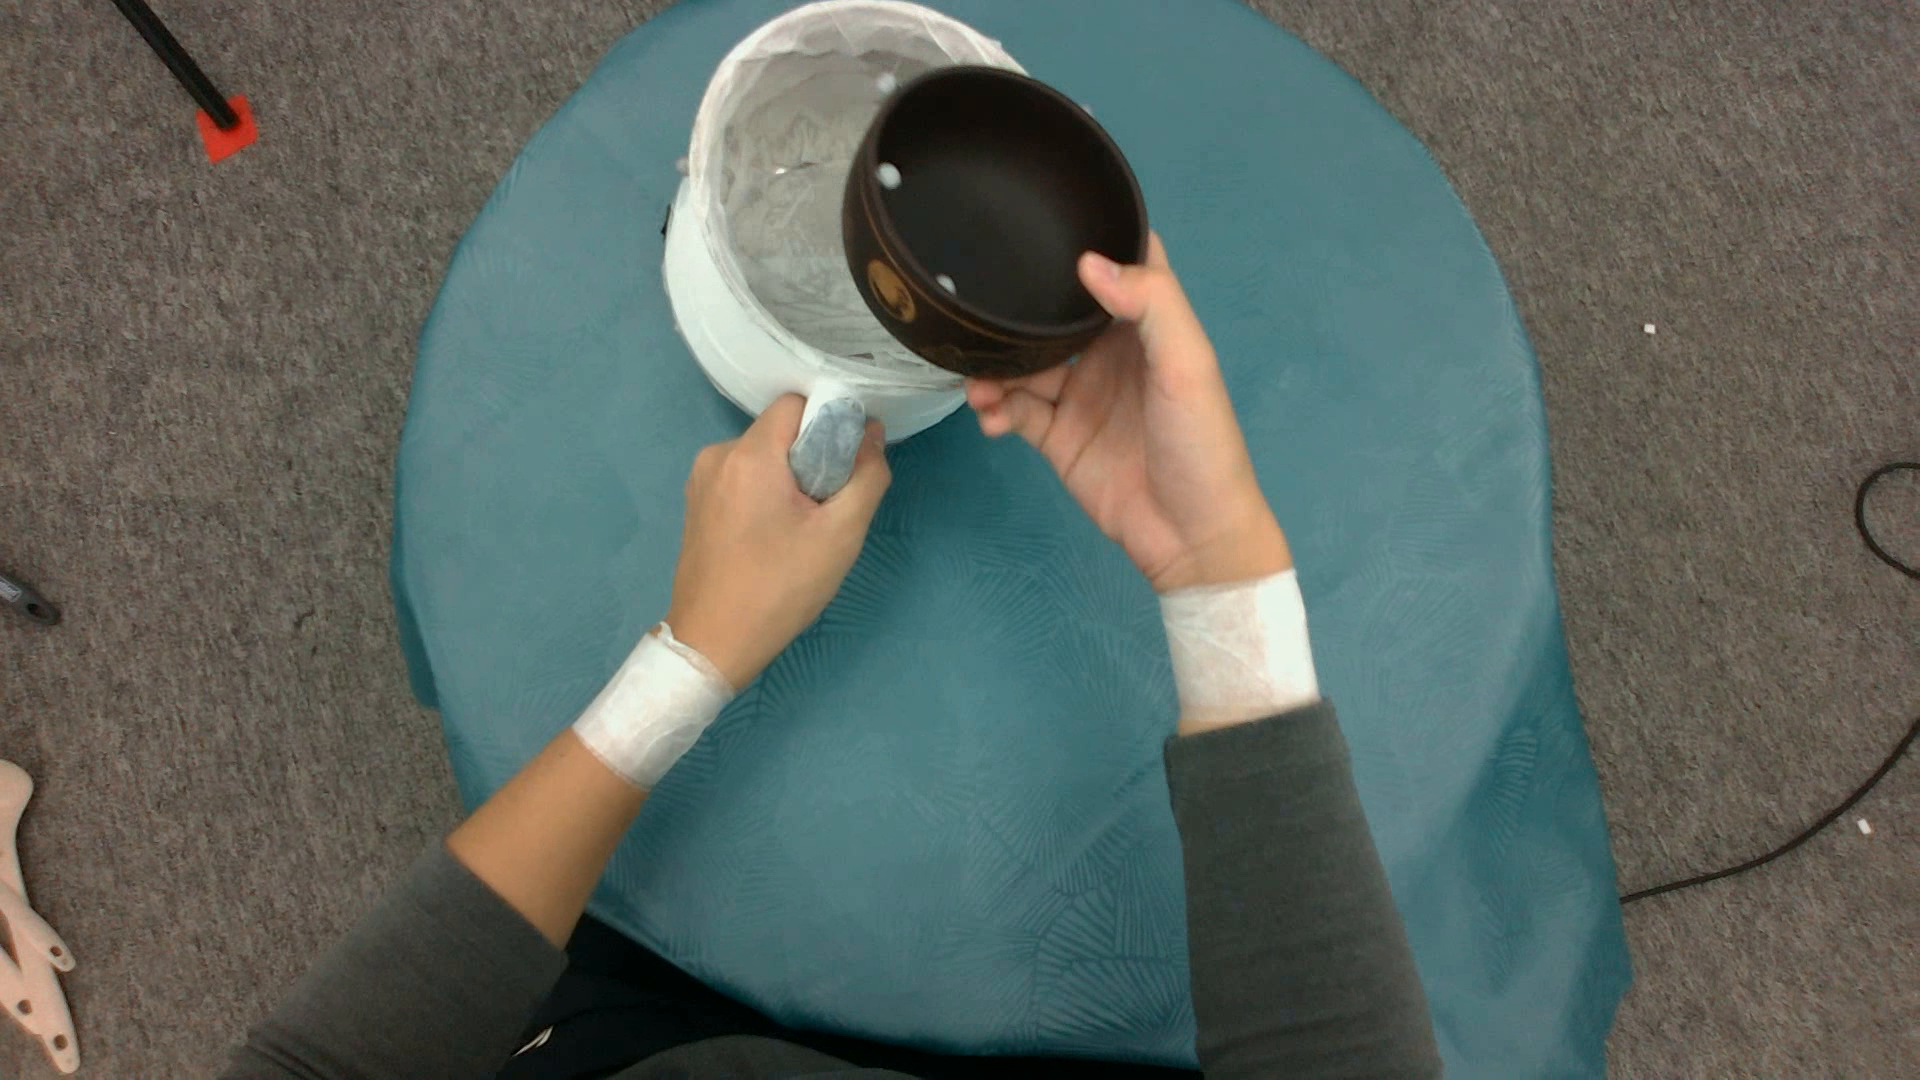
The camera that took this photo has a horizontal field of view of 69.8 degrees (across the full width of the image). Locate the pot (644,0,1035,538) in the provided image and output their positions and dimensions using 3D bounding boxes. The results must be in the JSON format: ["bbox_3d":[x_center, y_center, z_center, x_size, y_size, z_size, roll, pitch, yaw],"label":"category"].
[{"bbox_3d":[-0.059,-0.119,0.645,0.179,0.136,0.234,15,76,-16],"label":"pot"}]

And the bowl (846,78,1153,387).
[{"bbox_3d":[0.009,-0.113,0.541,0.118,0.069,0.118,10,66,-23],"label":"bowl"}]
